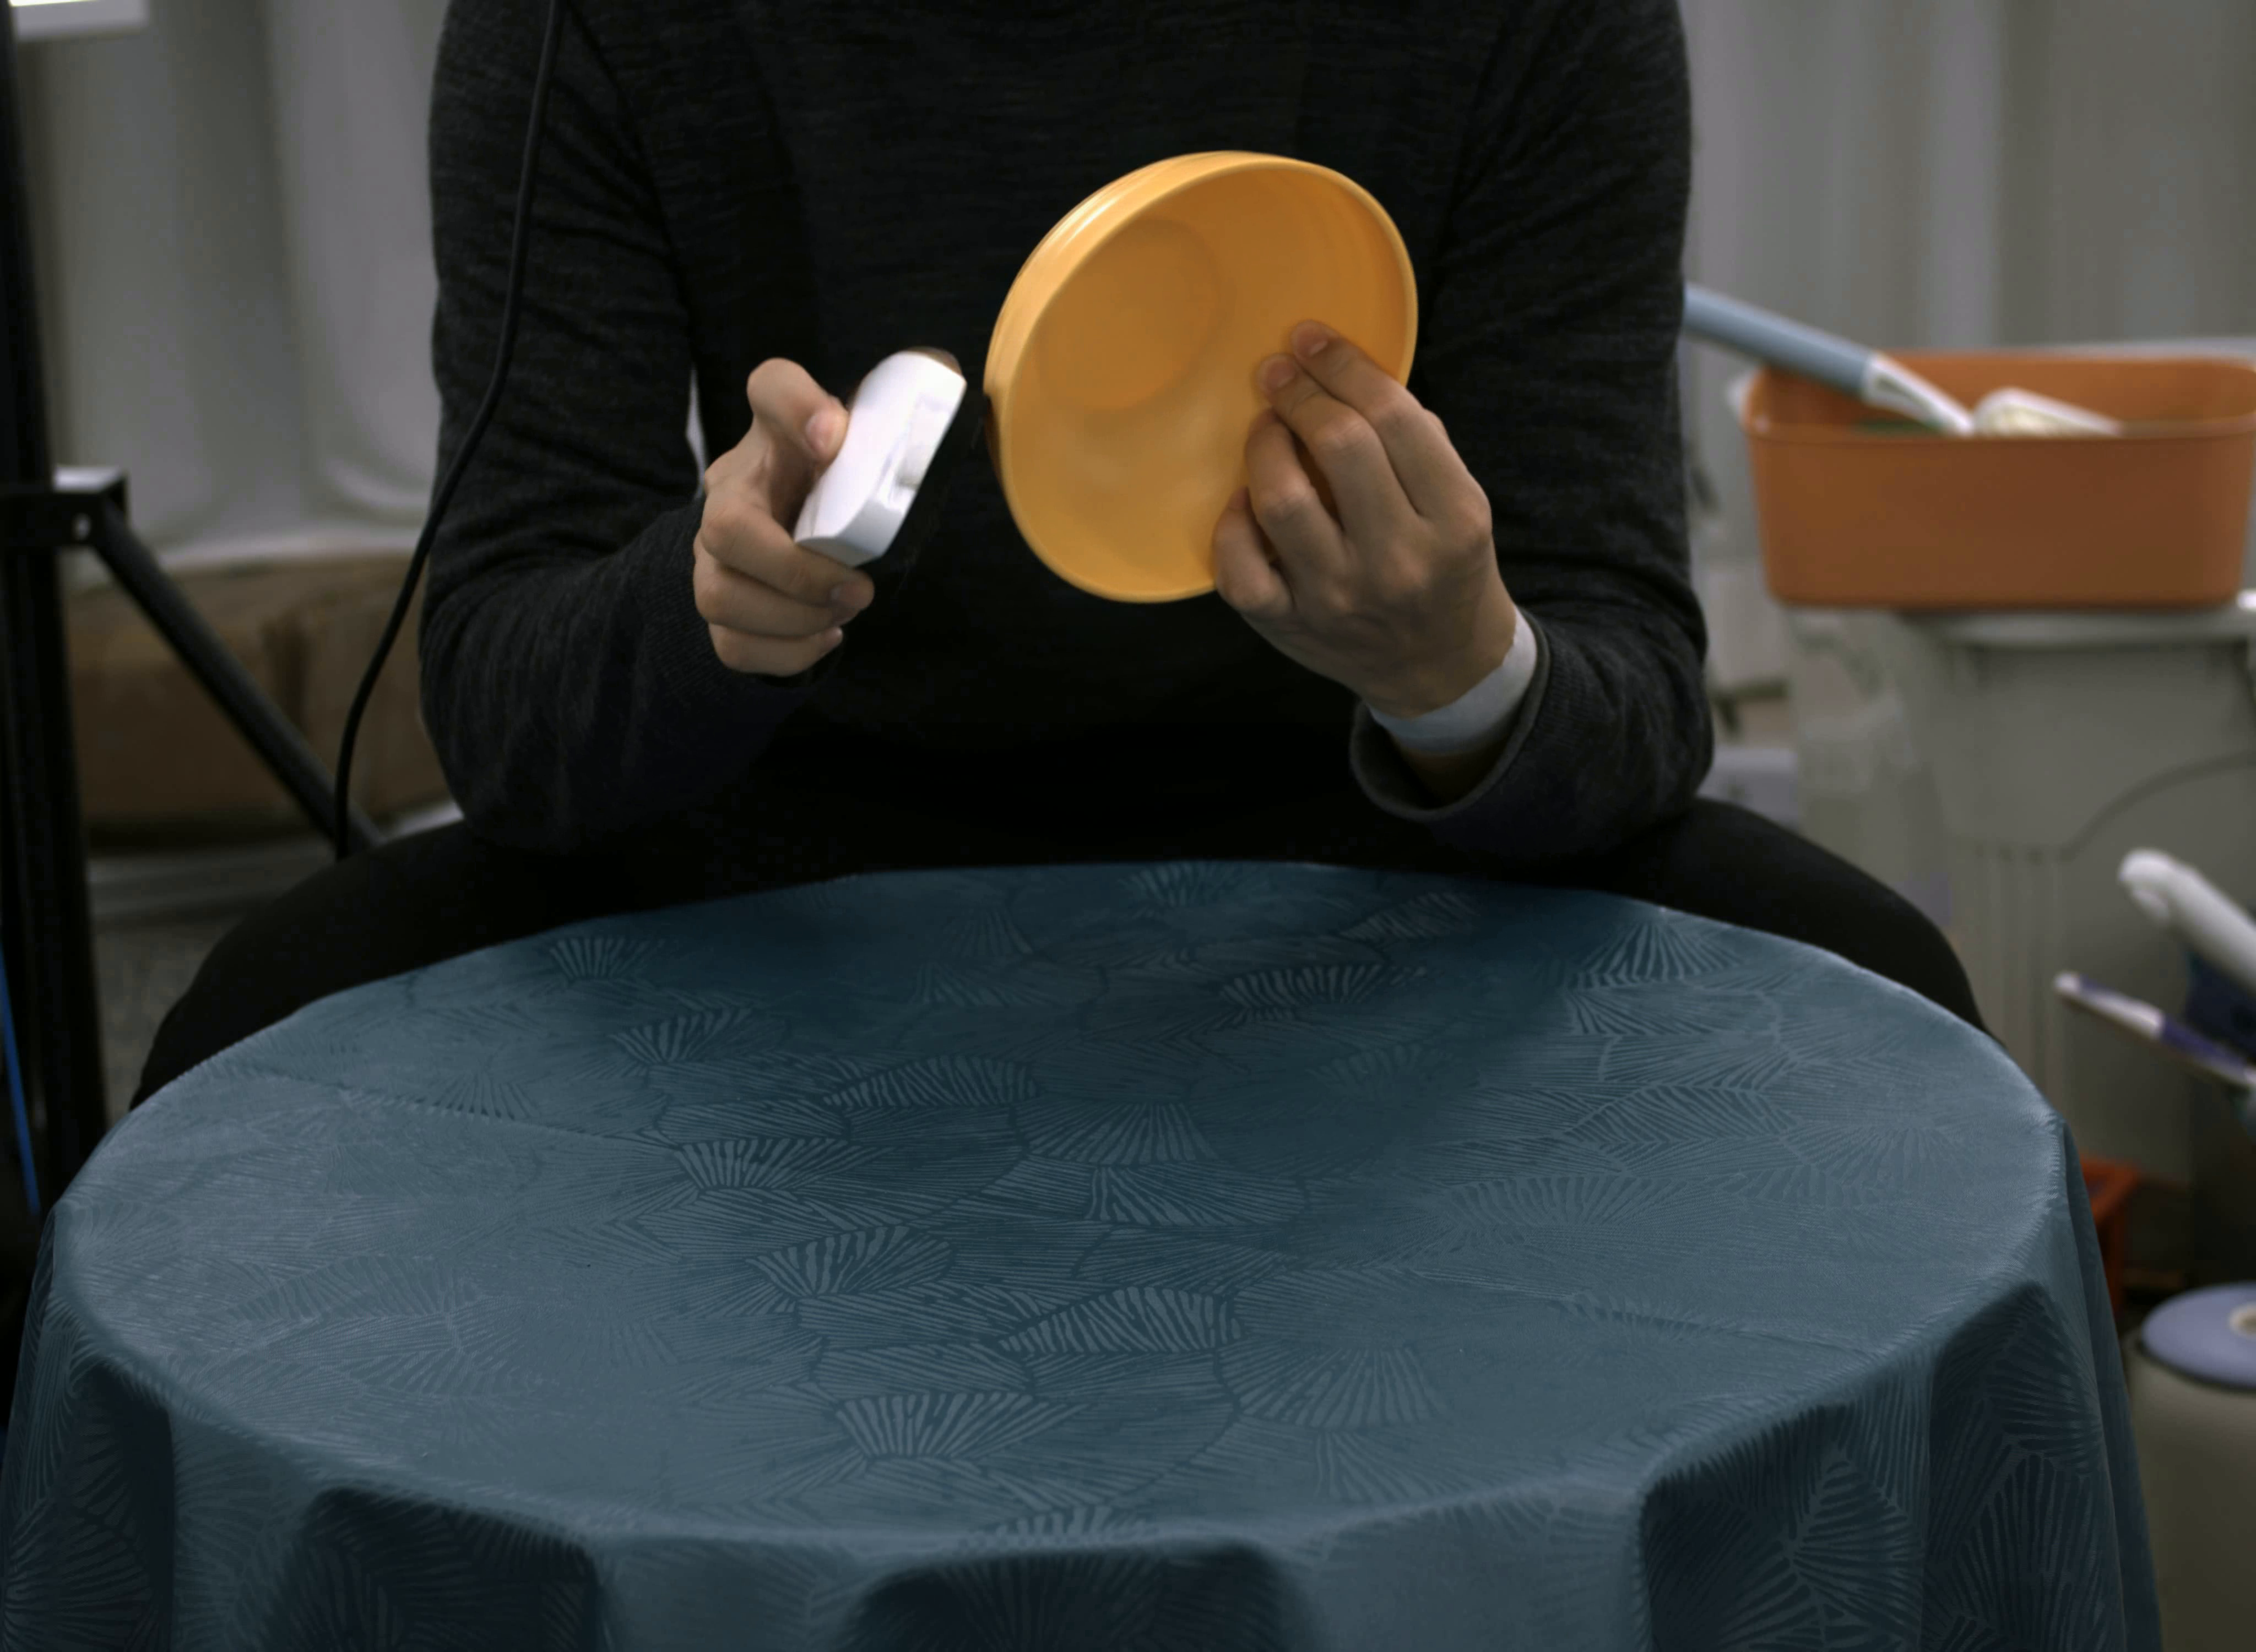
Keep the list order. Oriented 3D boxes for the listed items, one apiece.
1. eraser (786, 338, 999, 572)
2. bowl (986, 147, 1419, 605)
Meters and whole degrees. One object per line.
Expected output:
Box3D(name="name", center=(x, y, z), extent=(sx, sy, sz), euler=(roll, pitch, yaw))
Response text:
Box3D(name="eraser", center=(-0.073, -0.111, 1.597), extent=(0.034, 0.063, 0.132), euler=(27, -5, -10))
Box3D(name="bowl", center=(0.011, -0.143, 1.591), extent=(0.142, 0.145, 0.061), euler=(-11, 34, -28))
